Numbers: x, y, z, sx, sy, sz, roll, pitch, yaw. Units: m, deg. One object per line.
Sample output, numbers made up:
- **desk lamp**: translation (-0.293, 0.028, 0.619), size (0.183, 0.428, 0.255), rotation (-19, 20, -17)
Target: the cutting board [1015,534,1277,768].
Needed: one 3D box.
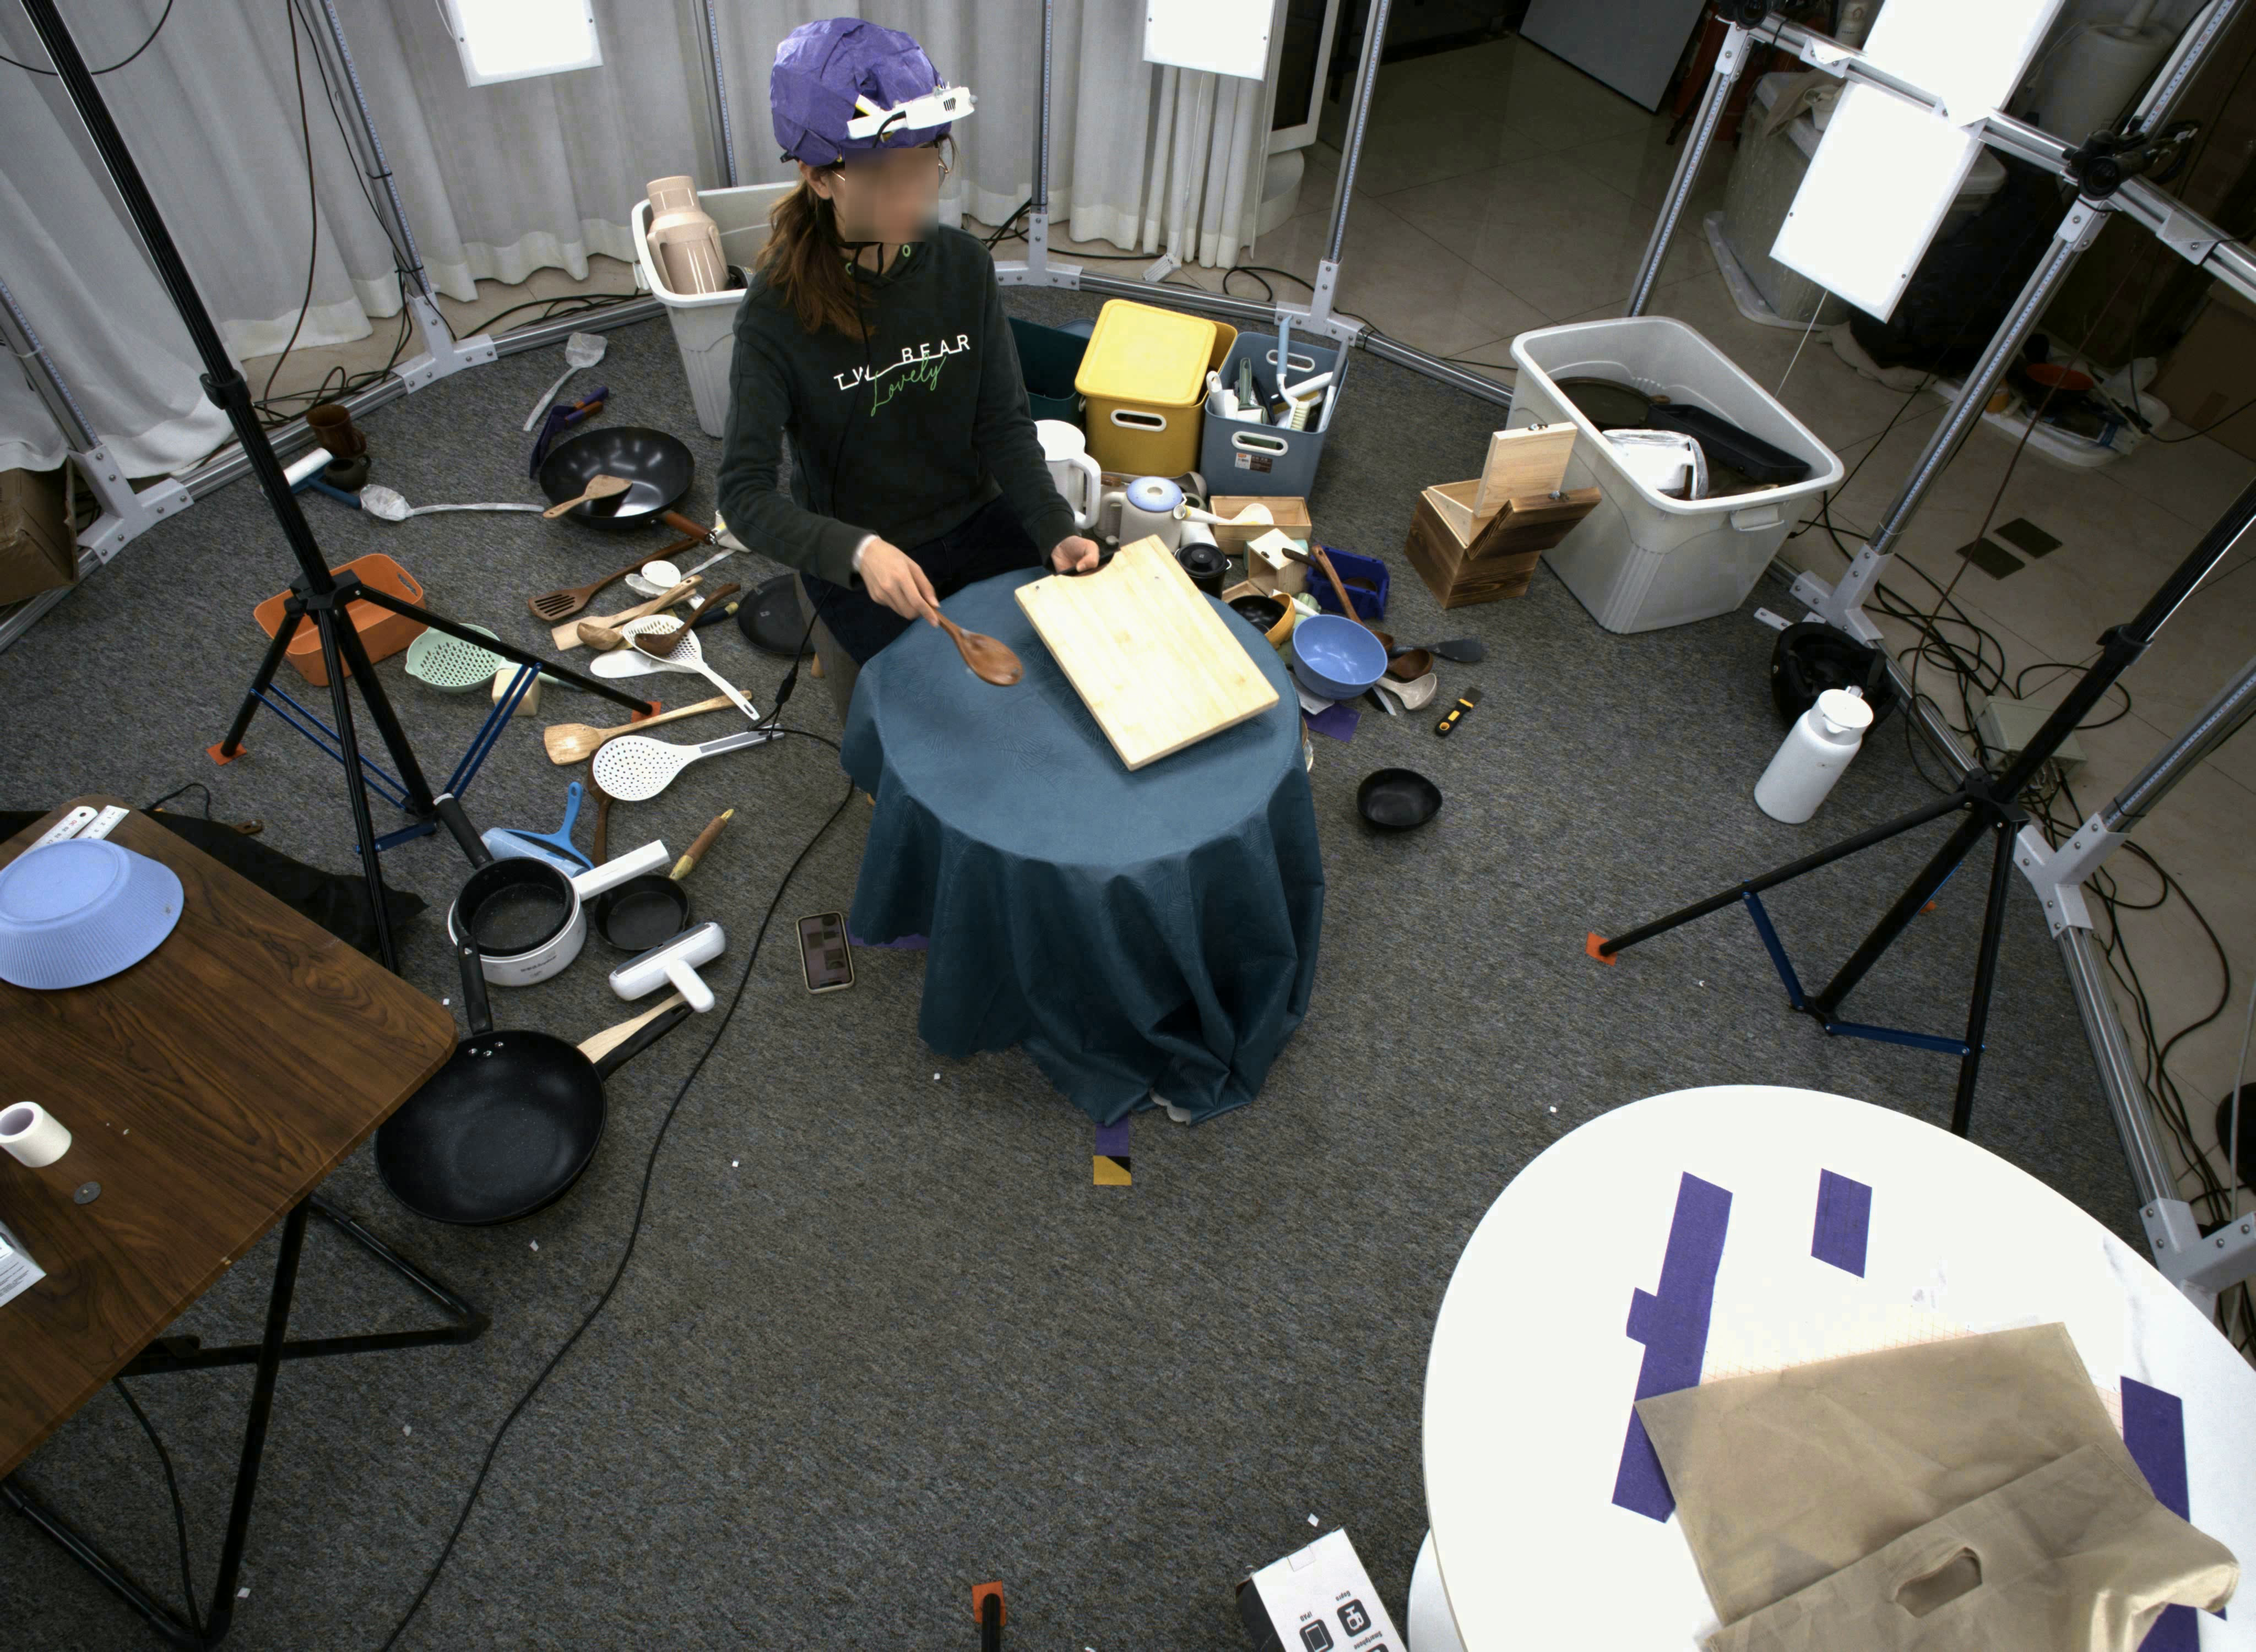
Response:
- **cutting board**: translation (0.021, -0.258, 1.845), size (0.251, 0.023, 0.355), rotation (-25, 62, -18)

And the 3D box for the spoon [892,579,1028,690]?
- **spoon**: translation (-0.223, -0.252, 1.693), size (0.216, 0.017, 0.076), rotation (40, 47, 3)
